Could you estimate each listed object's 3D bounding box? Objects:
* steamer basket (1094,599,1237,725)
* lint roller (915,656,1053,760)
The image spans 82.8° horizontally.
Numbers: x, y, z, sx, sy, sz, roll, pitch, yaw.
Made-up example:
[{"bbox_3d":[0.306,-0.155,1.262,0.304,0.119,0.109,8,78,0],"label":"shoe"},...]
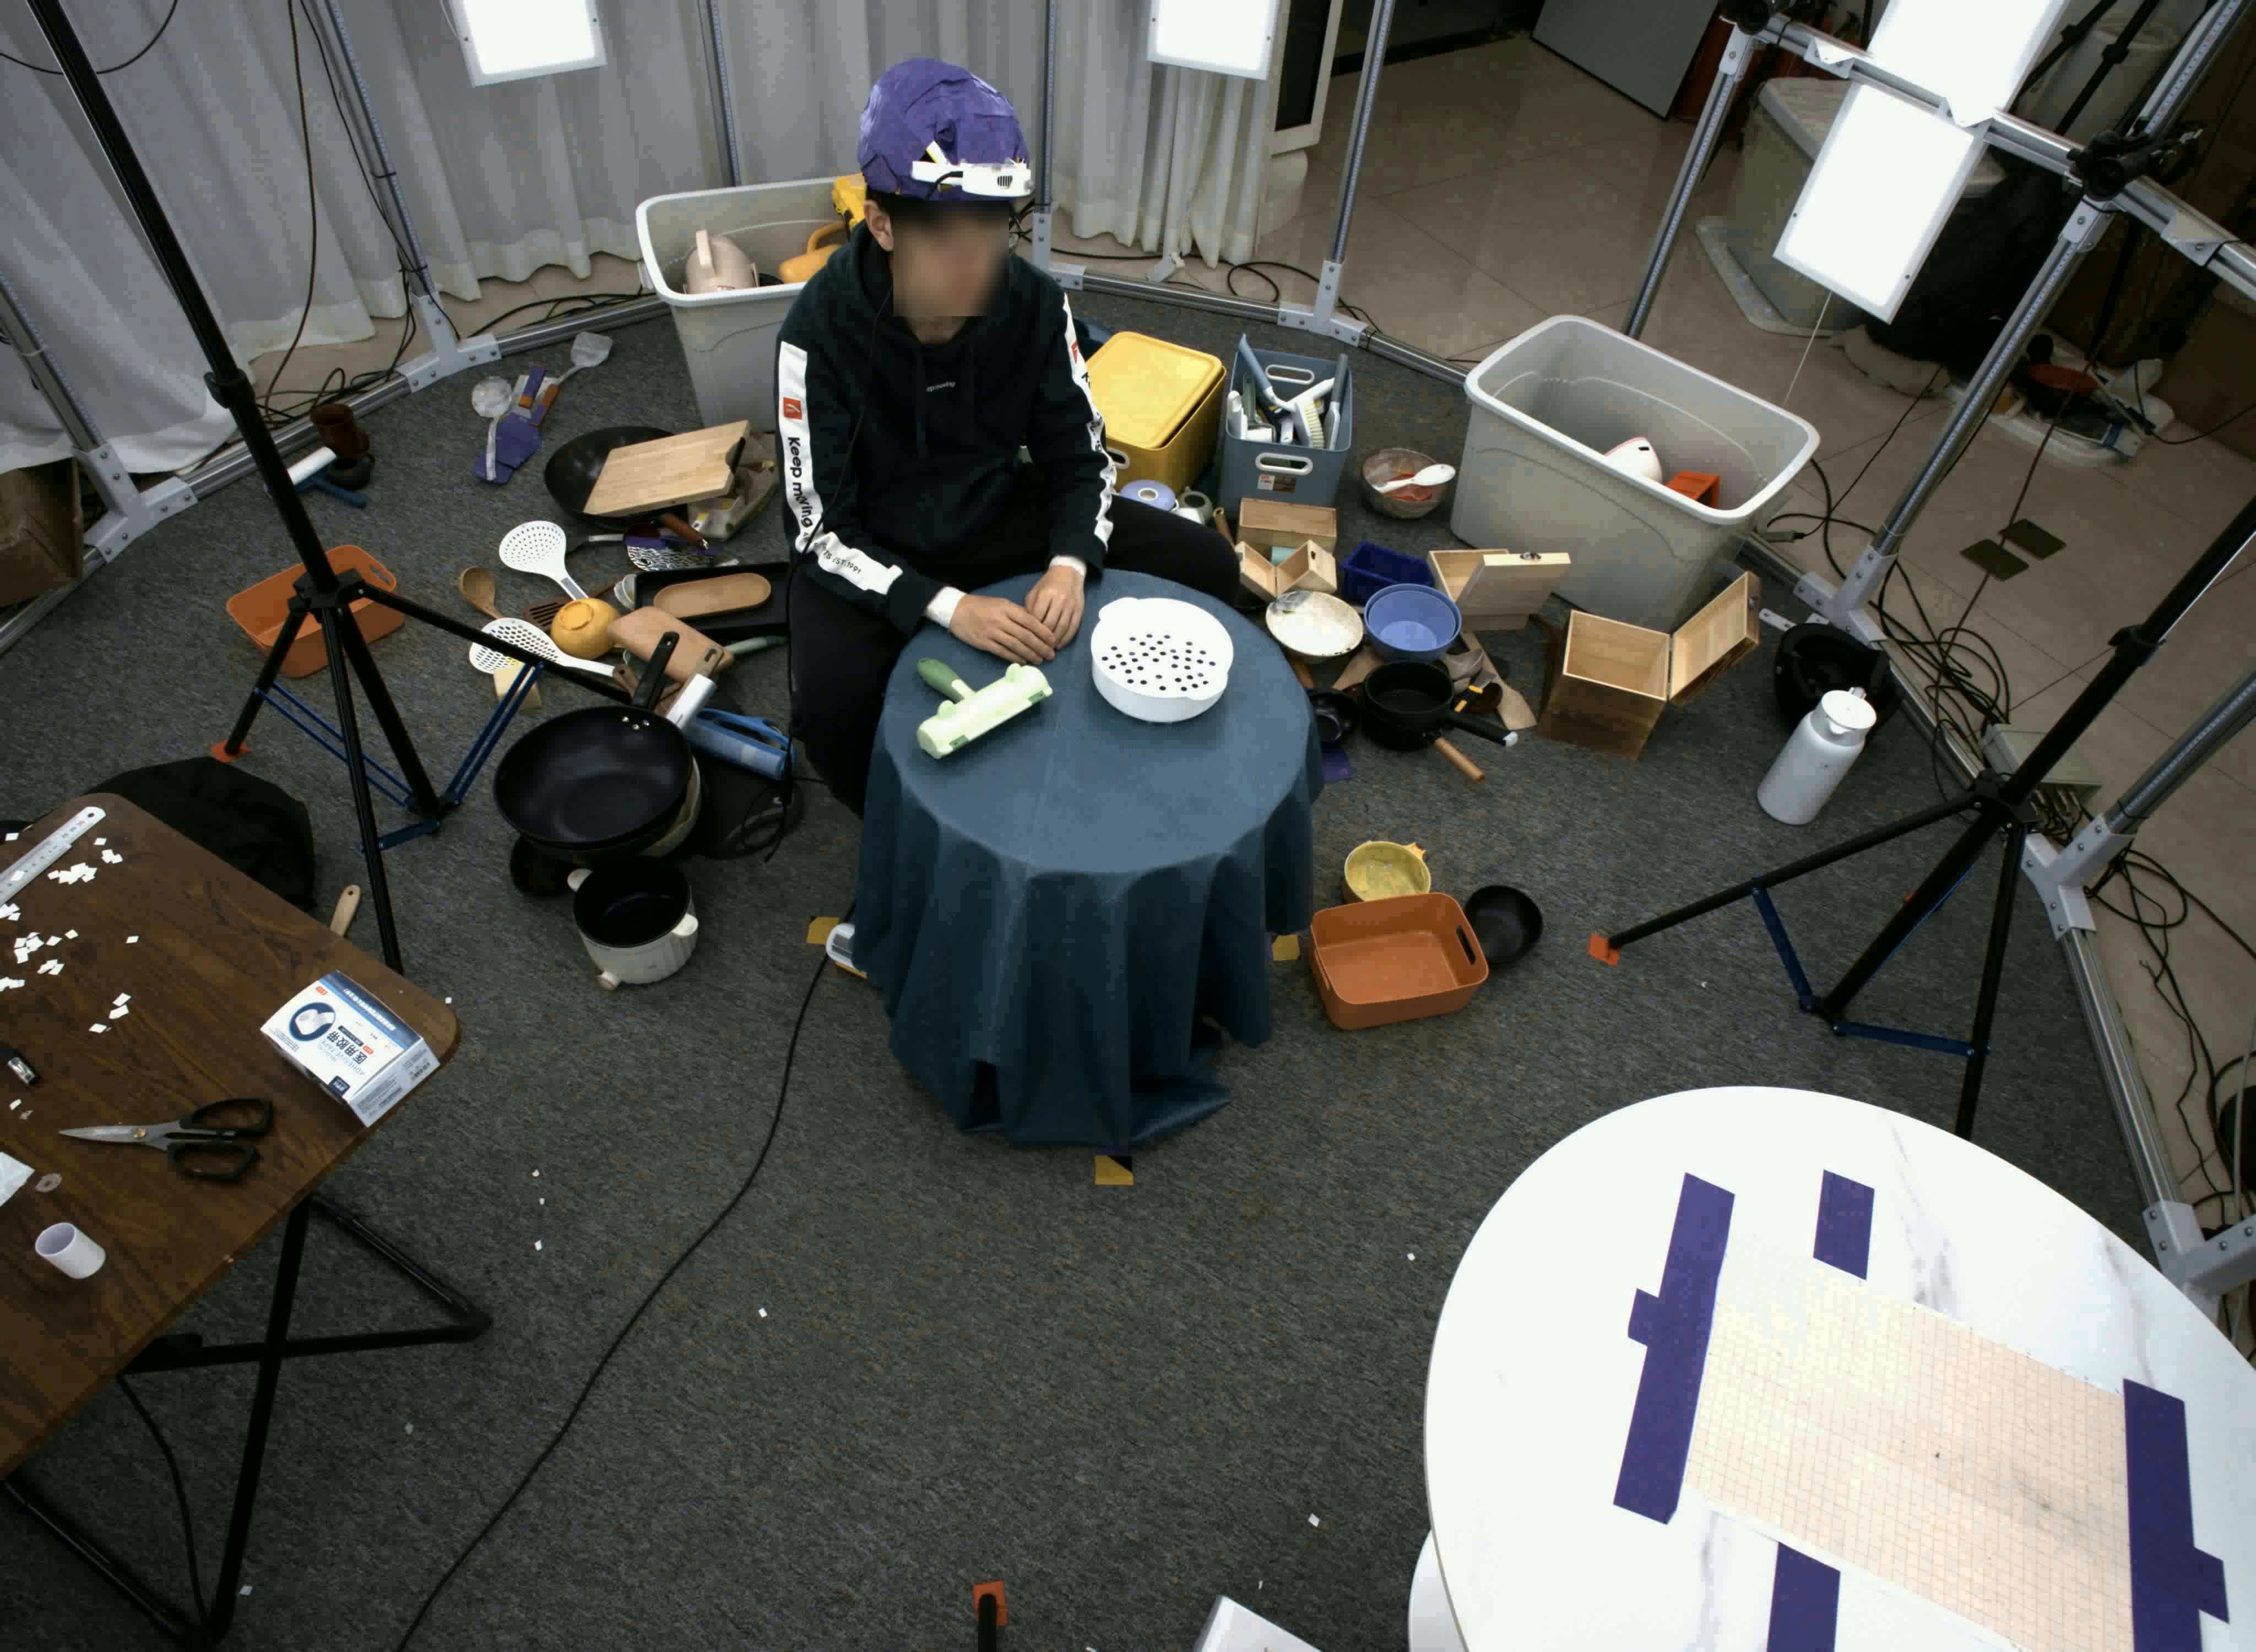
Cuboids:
[{"bbox_3d":[0.051,-0.232,1.828,0.203,0.067,0.234,-31,59,-26],"label":"steamer basket"},{"bbox_3d":[-0.232,-0.196,1.774,0.200,0.080,0.186,-33,62,-27],"label":"lint roller"}]
